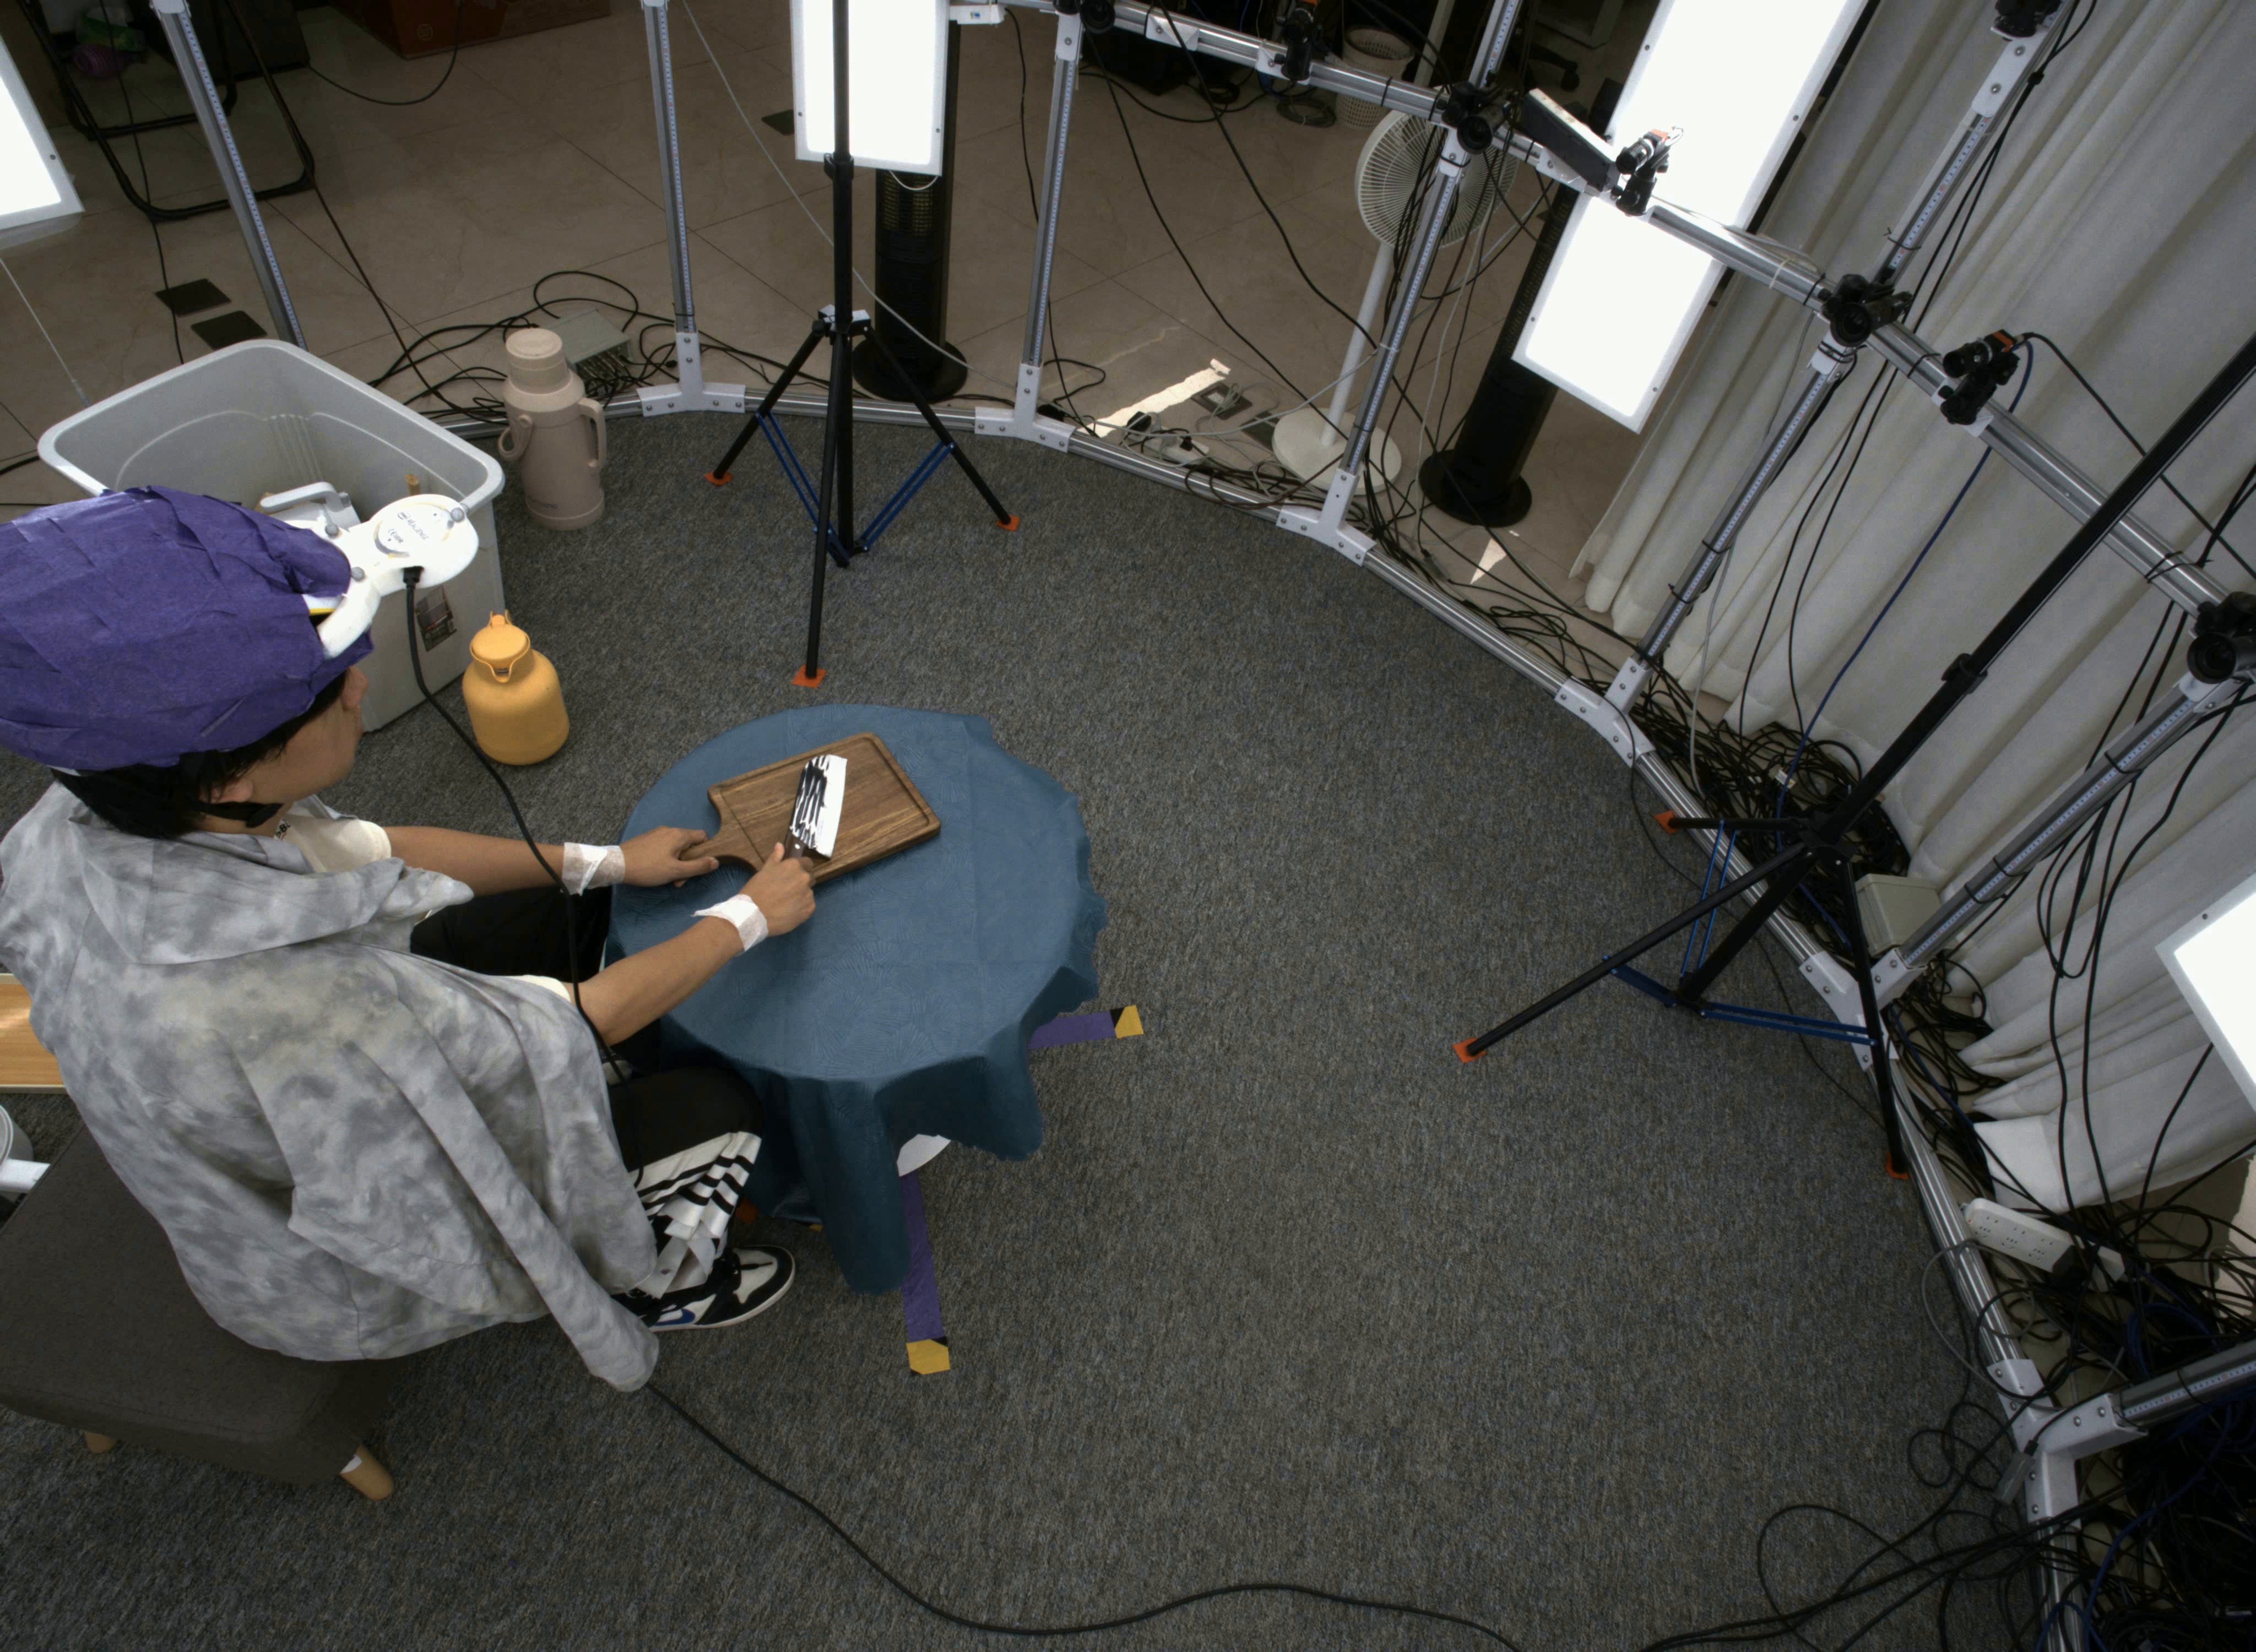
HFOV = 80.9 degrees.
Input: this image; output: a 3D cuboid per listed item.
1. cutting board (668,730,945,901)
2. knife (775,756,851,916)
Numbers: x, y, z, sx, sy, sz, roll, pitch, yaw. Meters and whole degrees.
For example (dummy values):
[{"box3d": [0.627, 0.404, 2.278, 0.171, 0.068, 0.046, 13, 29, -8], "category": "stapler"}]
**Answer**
[{"box3d": [-0.437, -0.004, 1.702, 0.354, 0.023, 0.196, -24, 63, -31], "category": "cutting board"}, {"box3d": [-0.400, 0.007, 1.667, 0.070, 0.024, 0.293, 35, 38, -31], "category": "knife"}]
